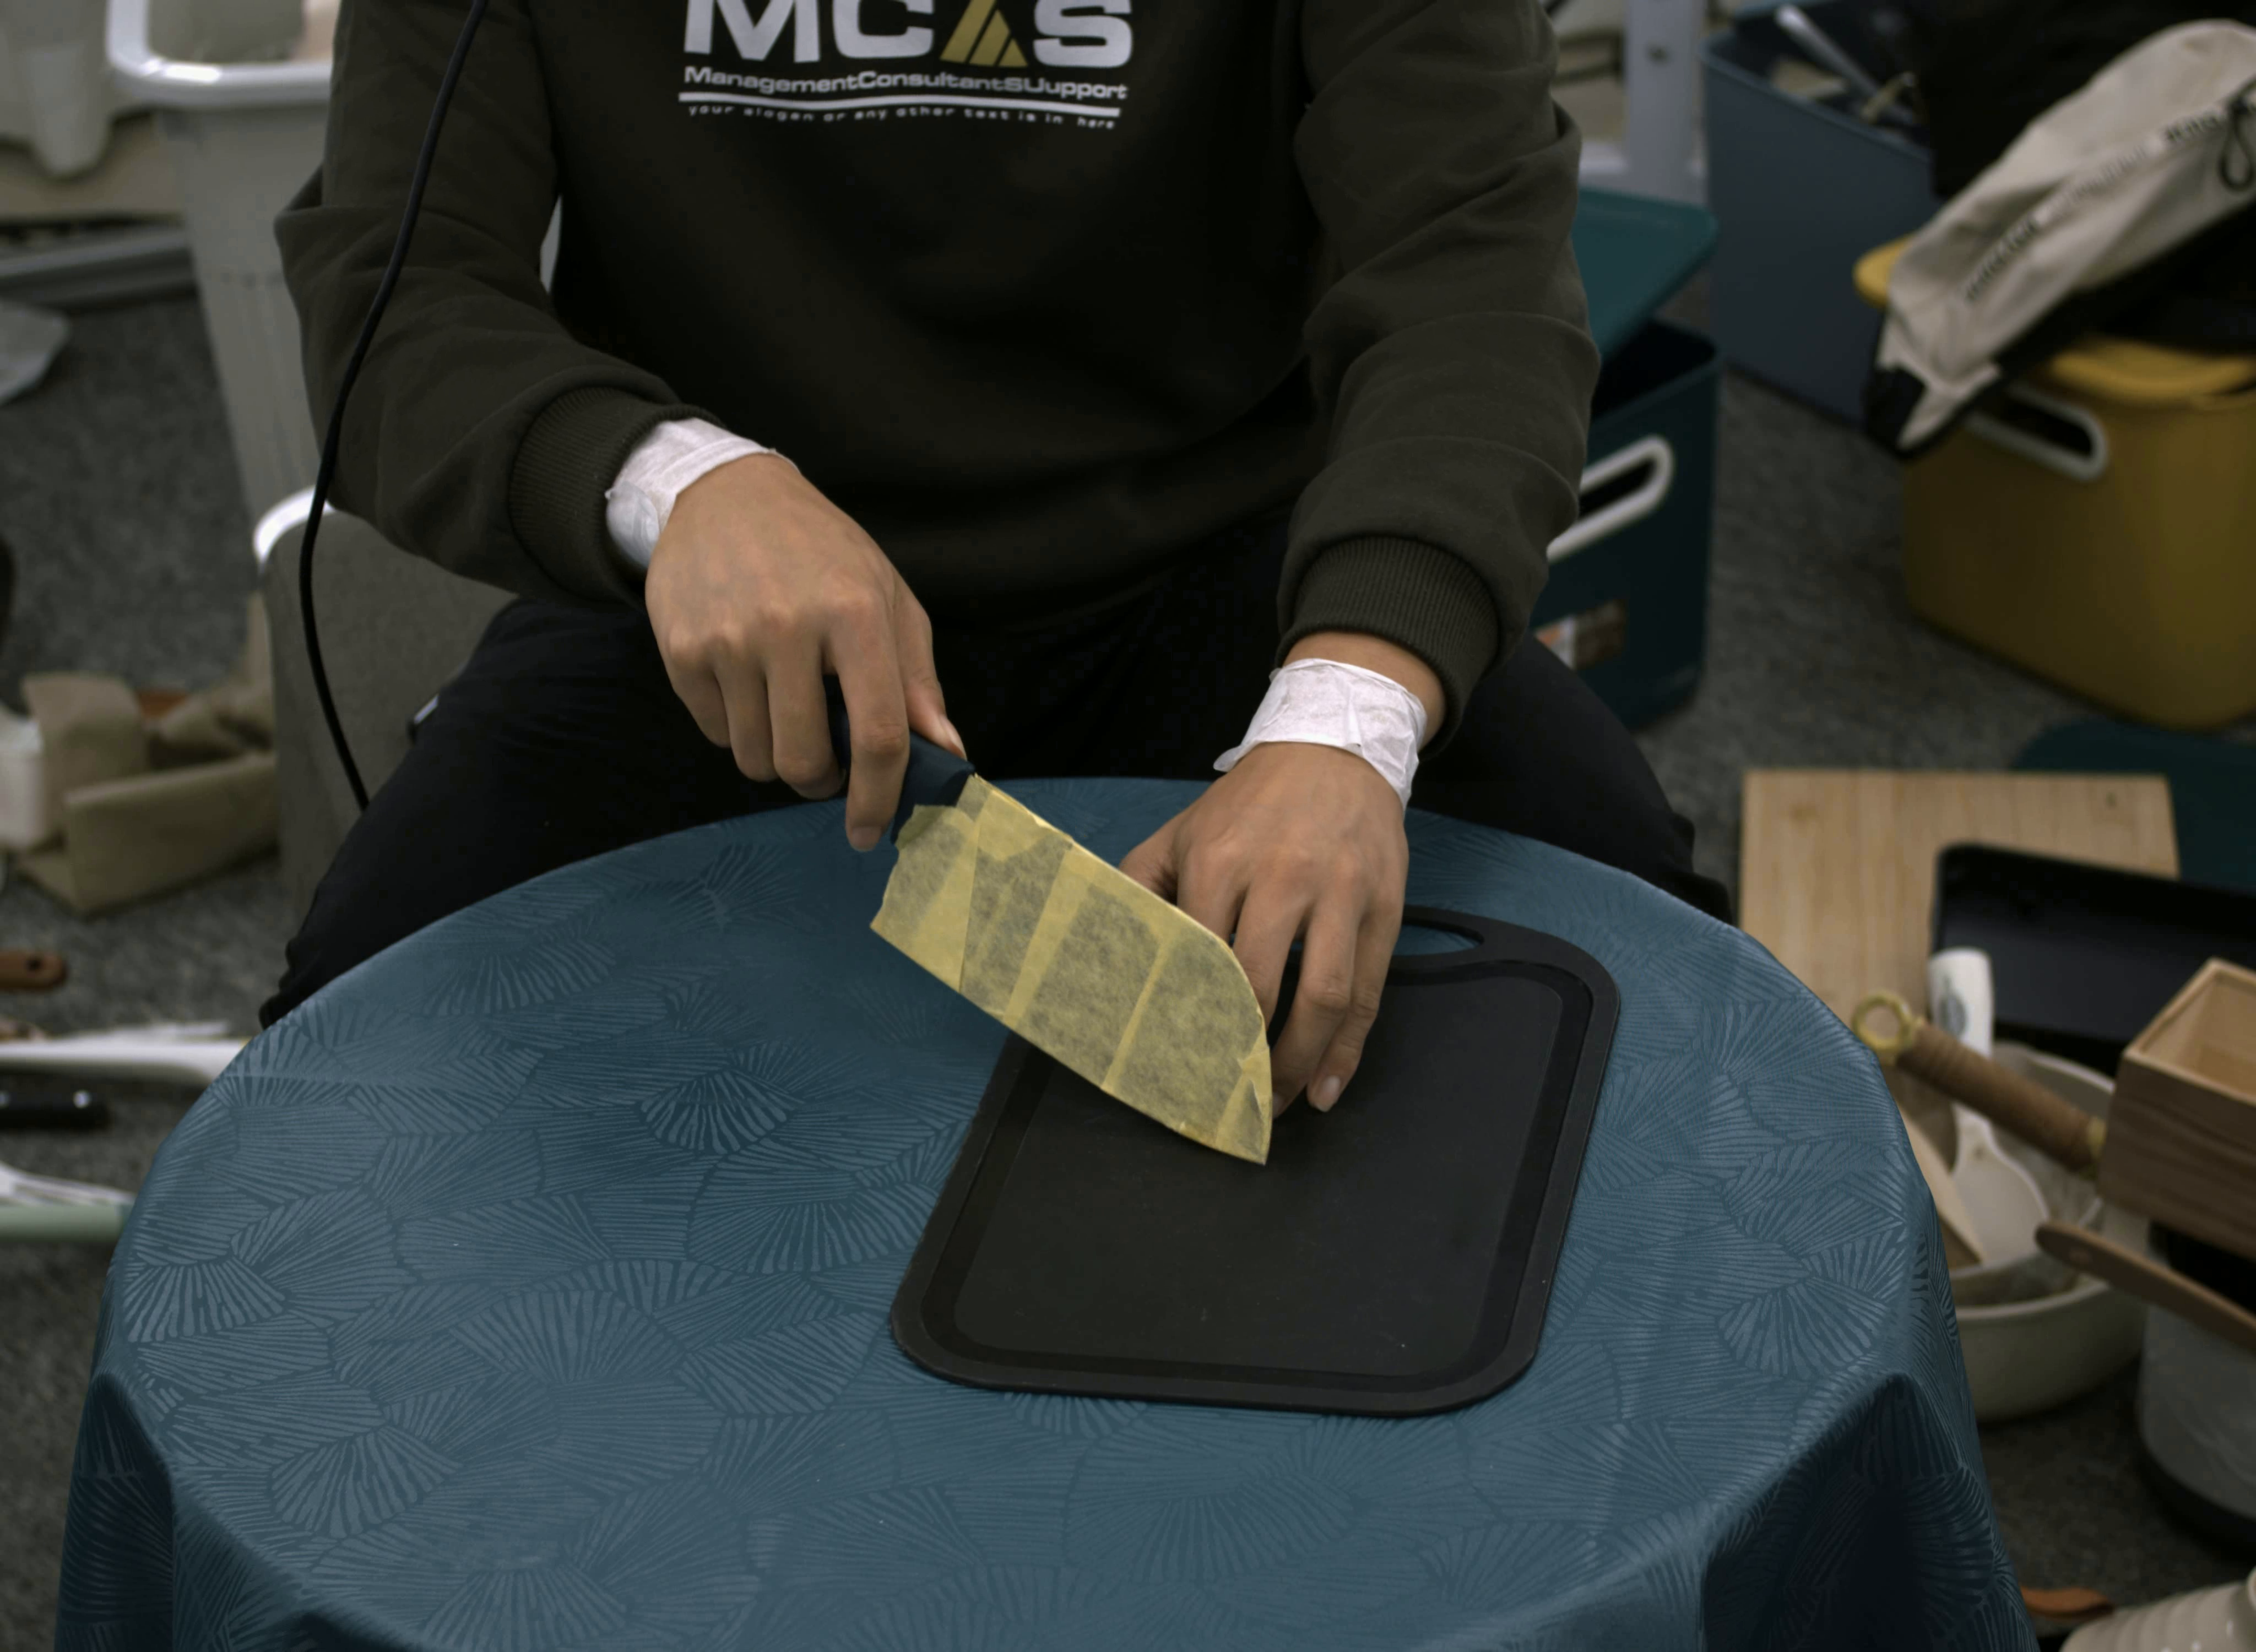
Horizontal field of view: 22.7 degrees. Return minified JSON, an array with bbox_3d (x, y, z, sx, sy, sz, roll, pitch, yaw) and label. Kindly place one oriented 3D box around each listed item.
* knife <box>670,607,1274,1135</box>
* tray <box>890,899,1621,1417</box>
[{"bbox_3d":[-0.057,0.014,1.923,0.290,0.080,0.027,37,22,26],"label":"knife"},{"bbox_3d":[0.049,0.102,1.886,0.210,0.009,0.331,3,28,11],"label":"tray"}]
